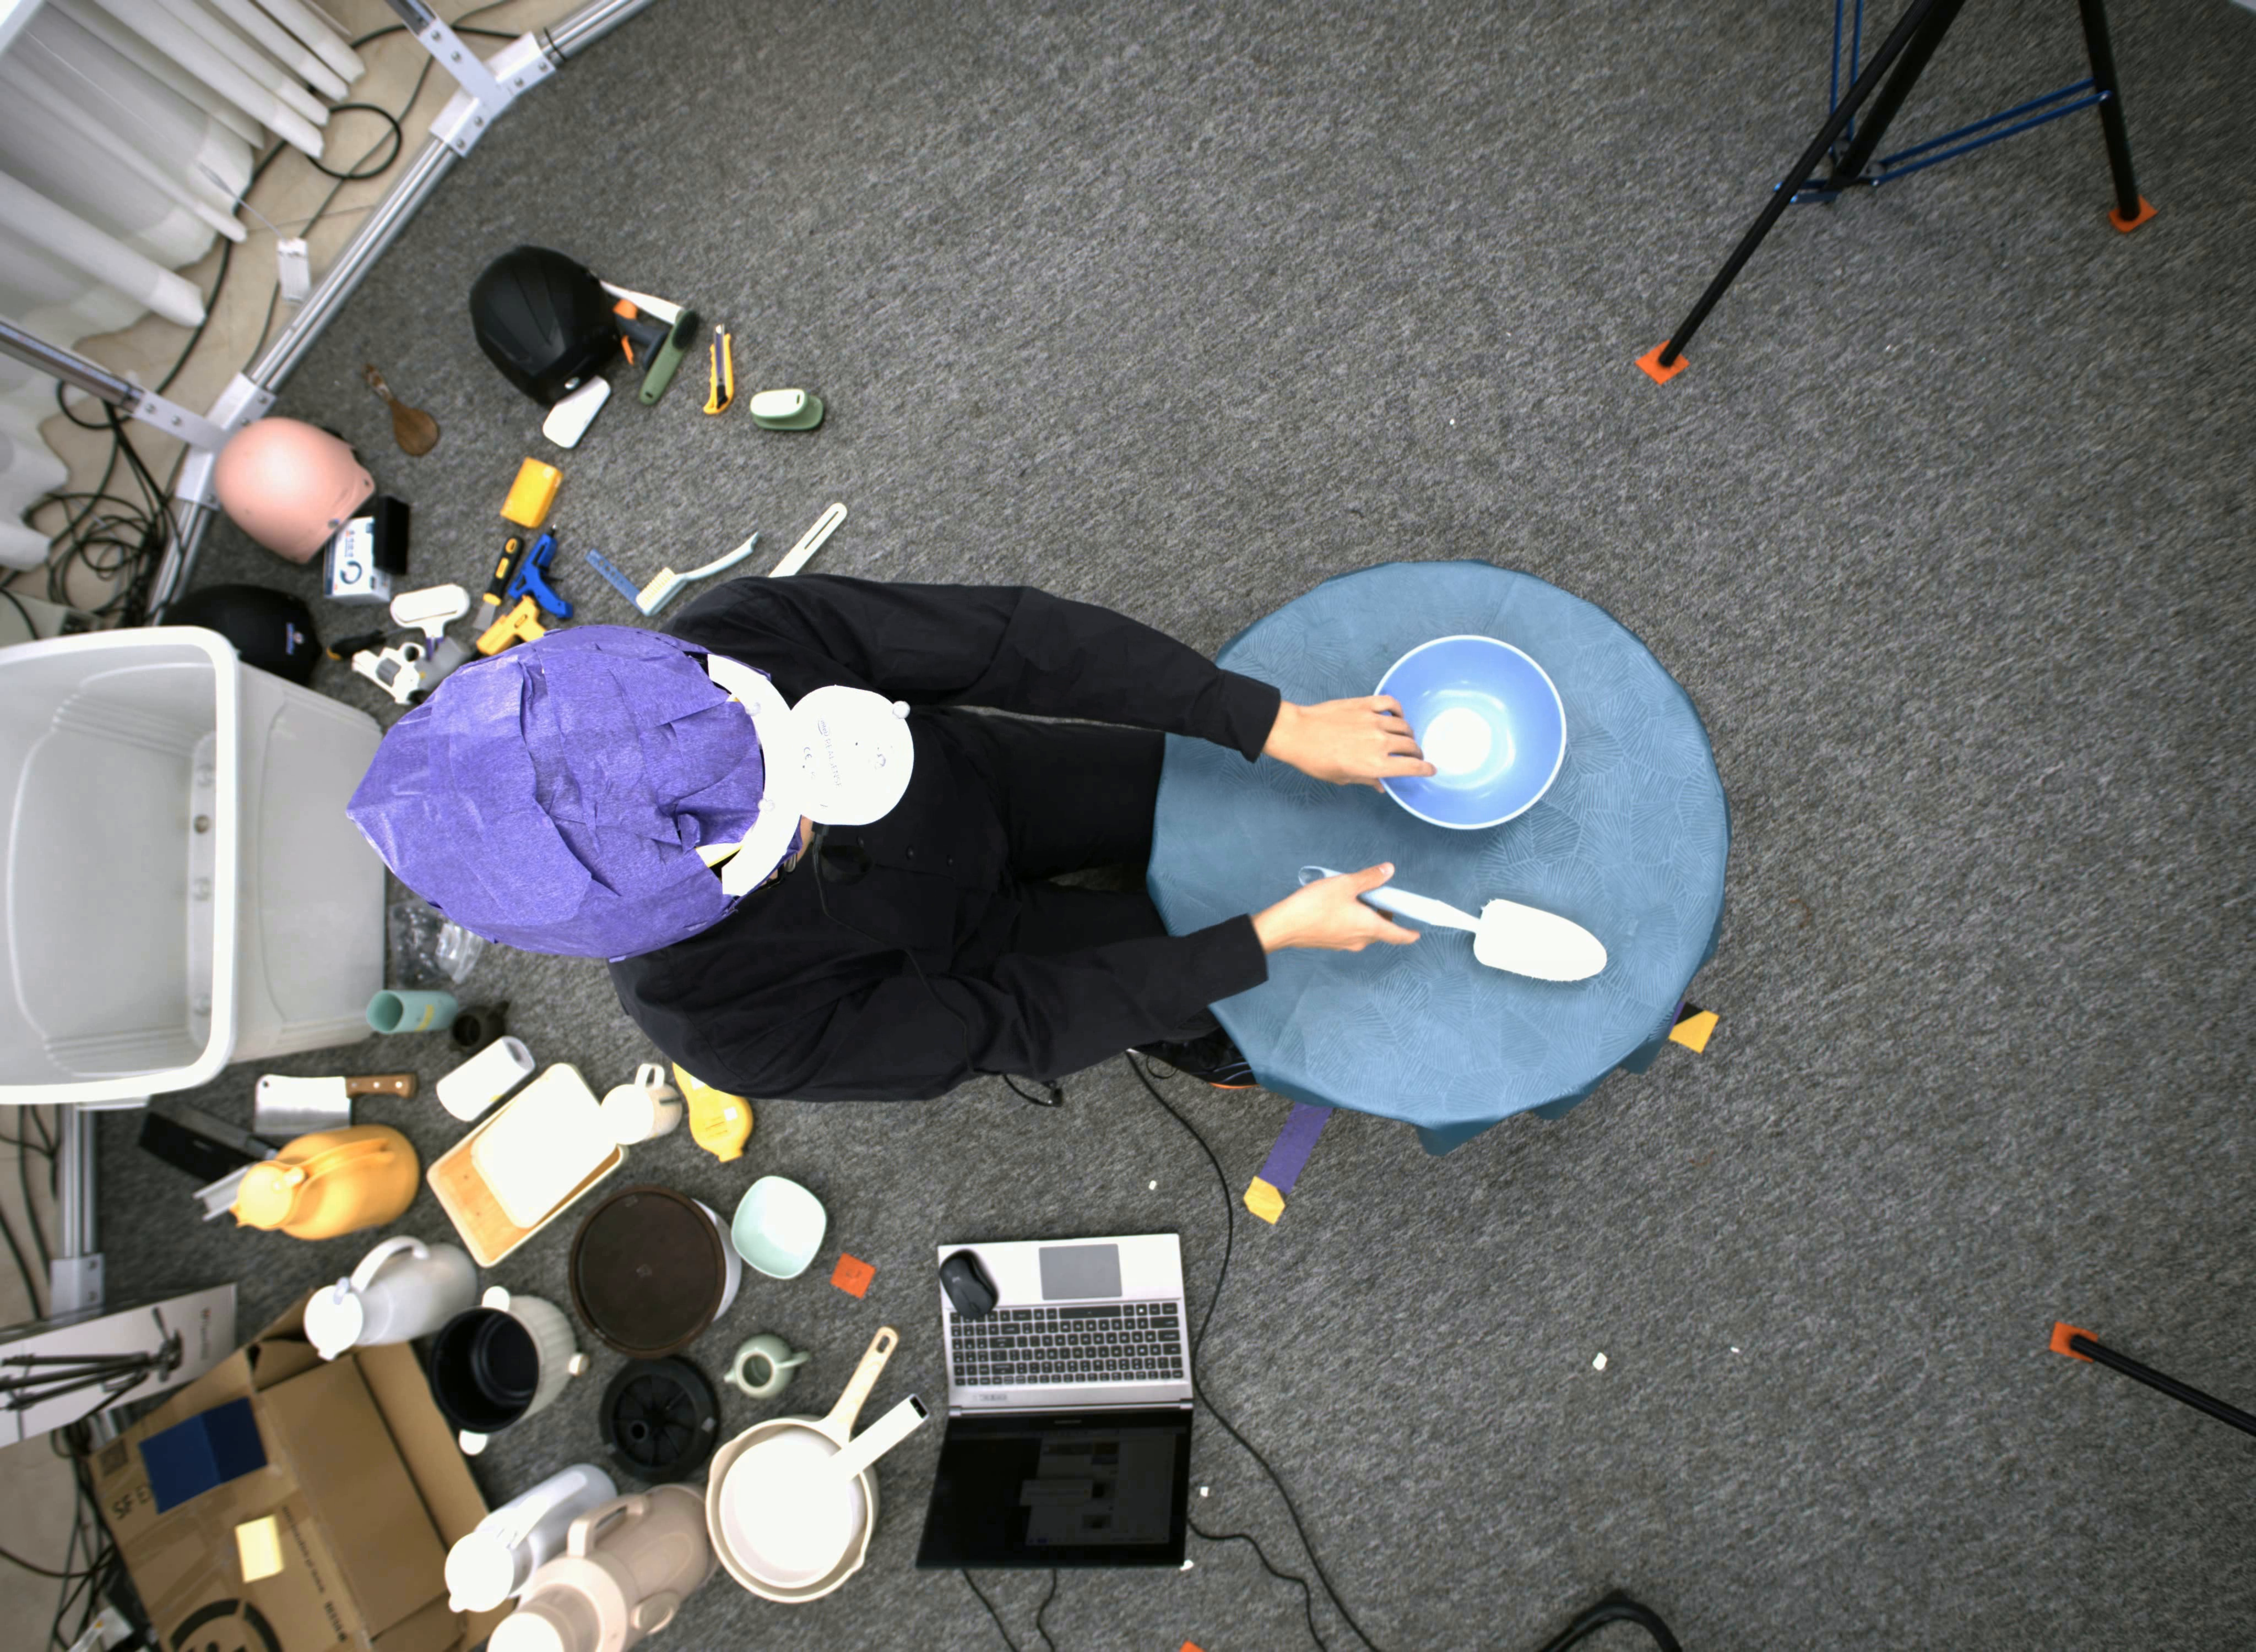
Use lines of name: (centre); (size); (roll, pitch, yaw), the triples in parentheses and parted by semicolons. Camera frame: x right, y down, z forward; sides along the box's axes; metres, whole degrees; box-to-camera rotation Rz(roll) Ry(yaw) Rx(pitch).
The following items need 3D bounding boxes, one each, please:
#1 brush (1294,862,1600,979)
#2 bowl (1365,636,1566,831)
brush: (0.322, 0.086, 1.406); (0.326, 0.087, 0.081); (16, 51, -1)
bowl: (0.343, -0.090, 1.409); (0.197, 0.095, 0.196); (-1, 87, 11)
